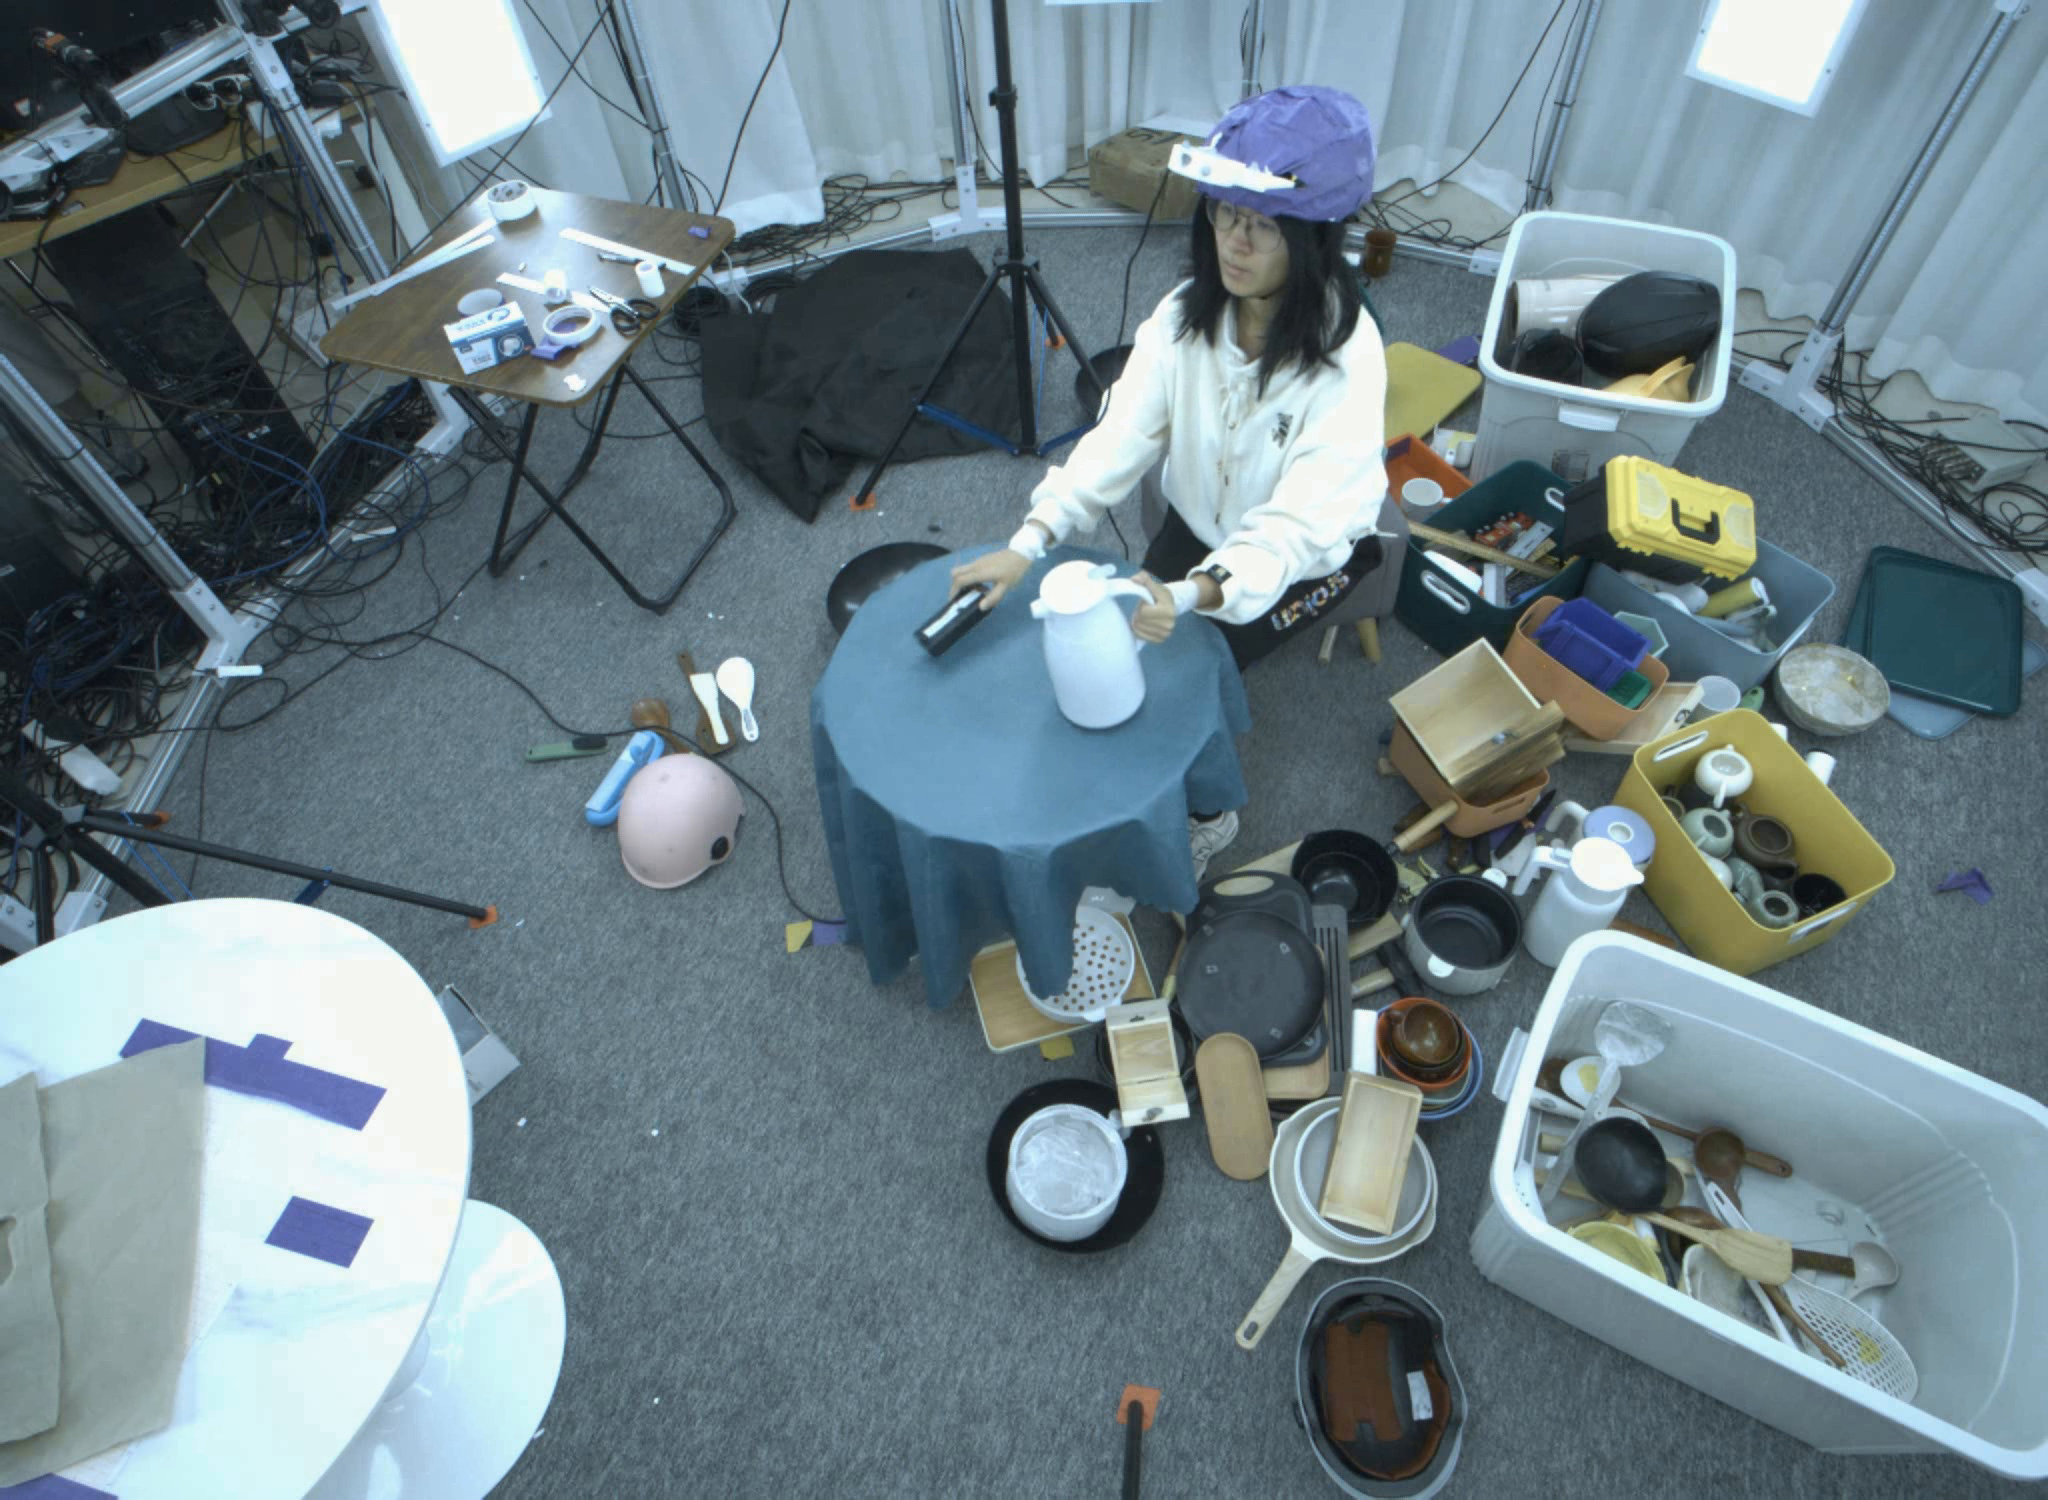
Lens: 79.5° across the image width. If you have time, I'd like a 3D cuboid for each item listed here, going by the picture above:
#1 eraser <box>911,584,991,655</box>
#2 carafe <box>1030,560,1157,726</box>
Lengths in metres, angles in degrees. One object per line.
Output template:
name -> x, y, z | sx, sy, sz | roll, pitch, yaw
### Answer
eraser -> -0.111, -0.200, 1.872 | 0.052, 0.031, 0.126 | 33, 66, 31
carafe -> 0.107, -0.163, 1.724 | 0.168, 0.252, 0.130 | -20, 55, -1
